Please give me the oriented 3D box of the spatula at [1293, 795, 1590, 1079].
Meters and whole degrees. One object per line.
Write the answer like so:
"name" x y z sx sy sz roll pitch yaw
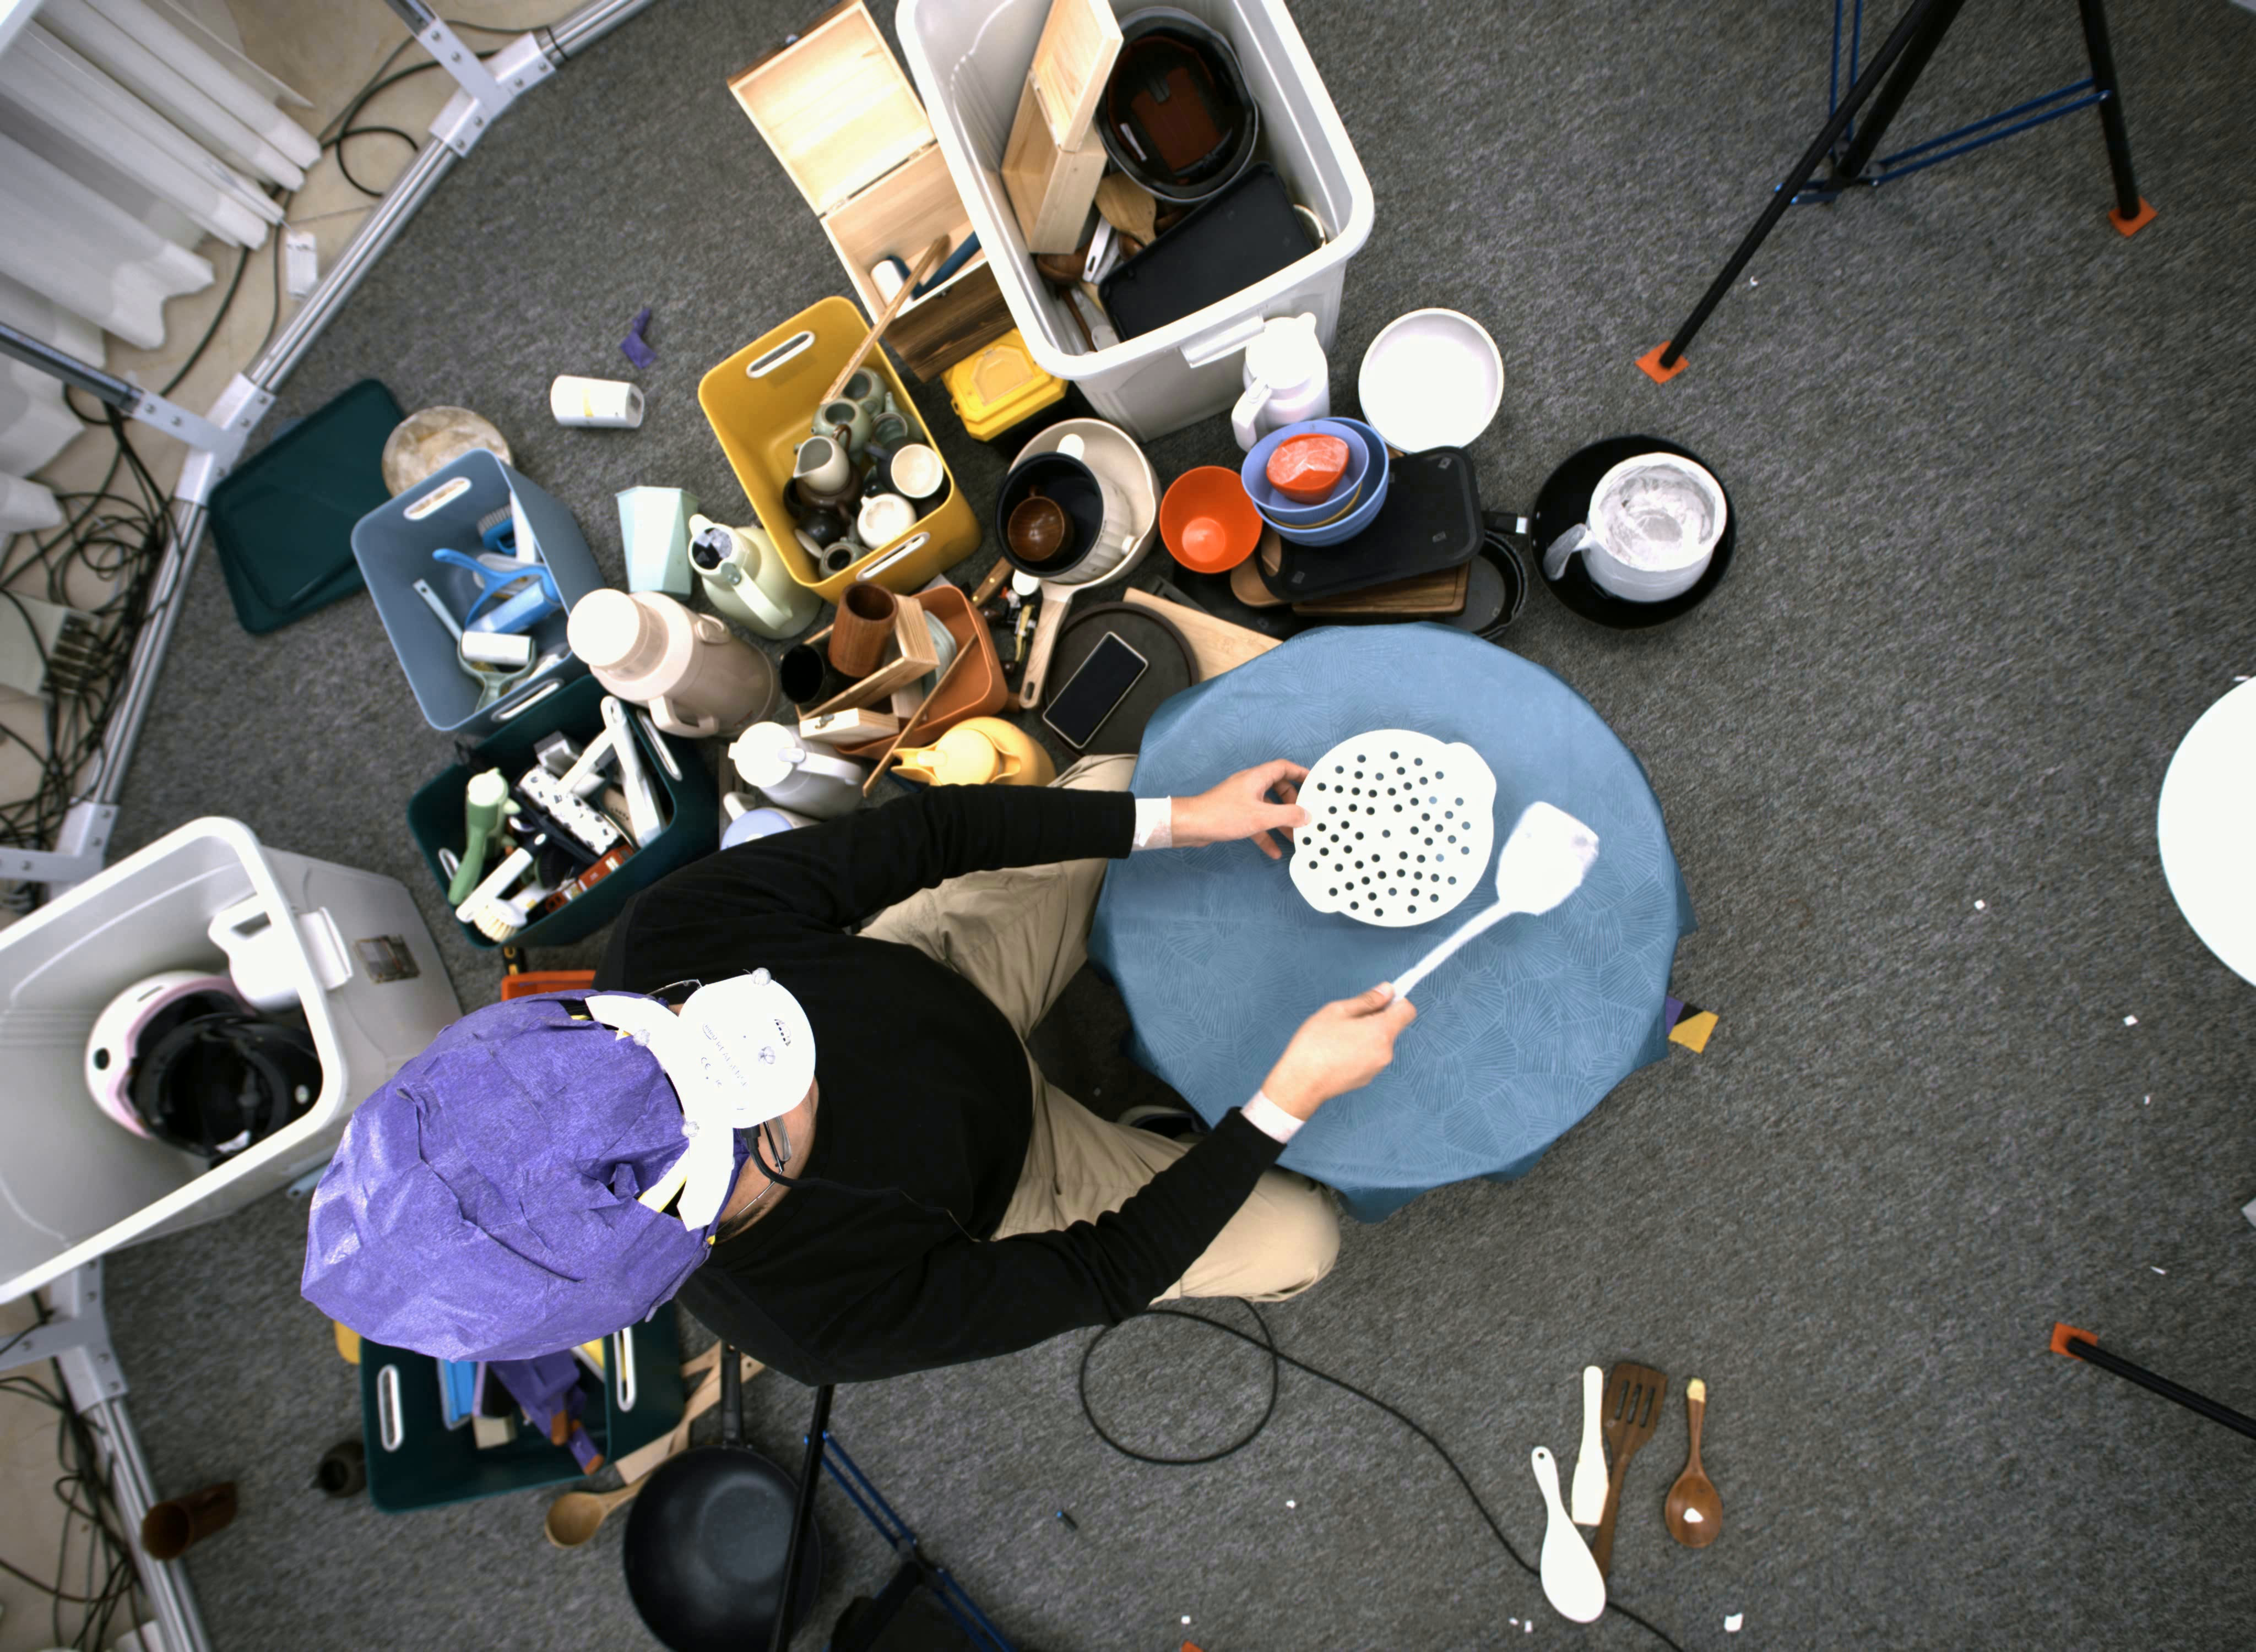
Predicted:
"spatula" 0.288 0.113 1.308 0.365 0.045 0.097 -42 38 1

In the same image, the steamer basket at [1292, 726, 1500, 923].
"steamer basket" 0.274 0.000 1.422 0.231 0.069 0.201 -35 83 2
